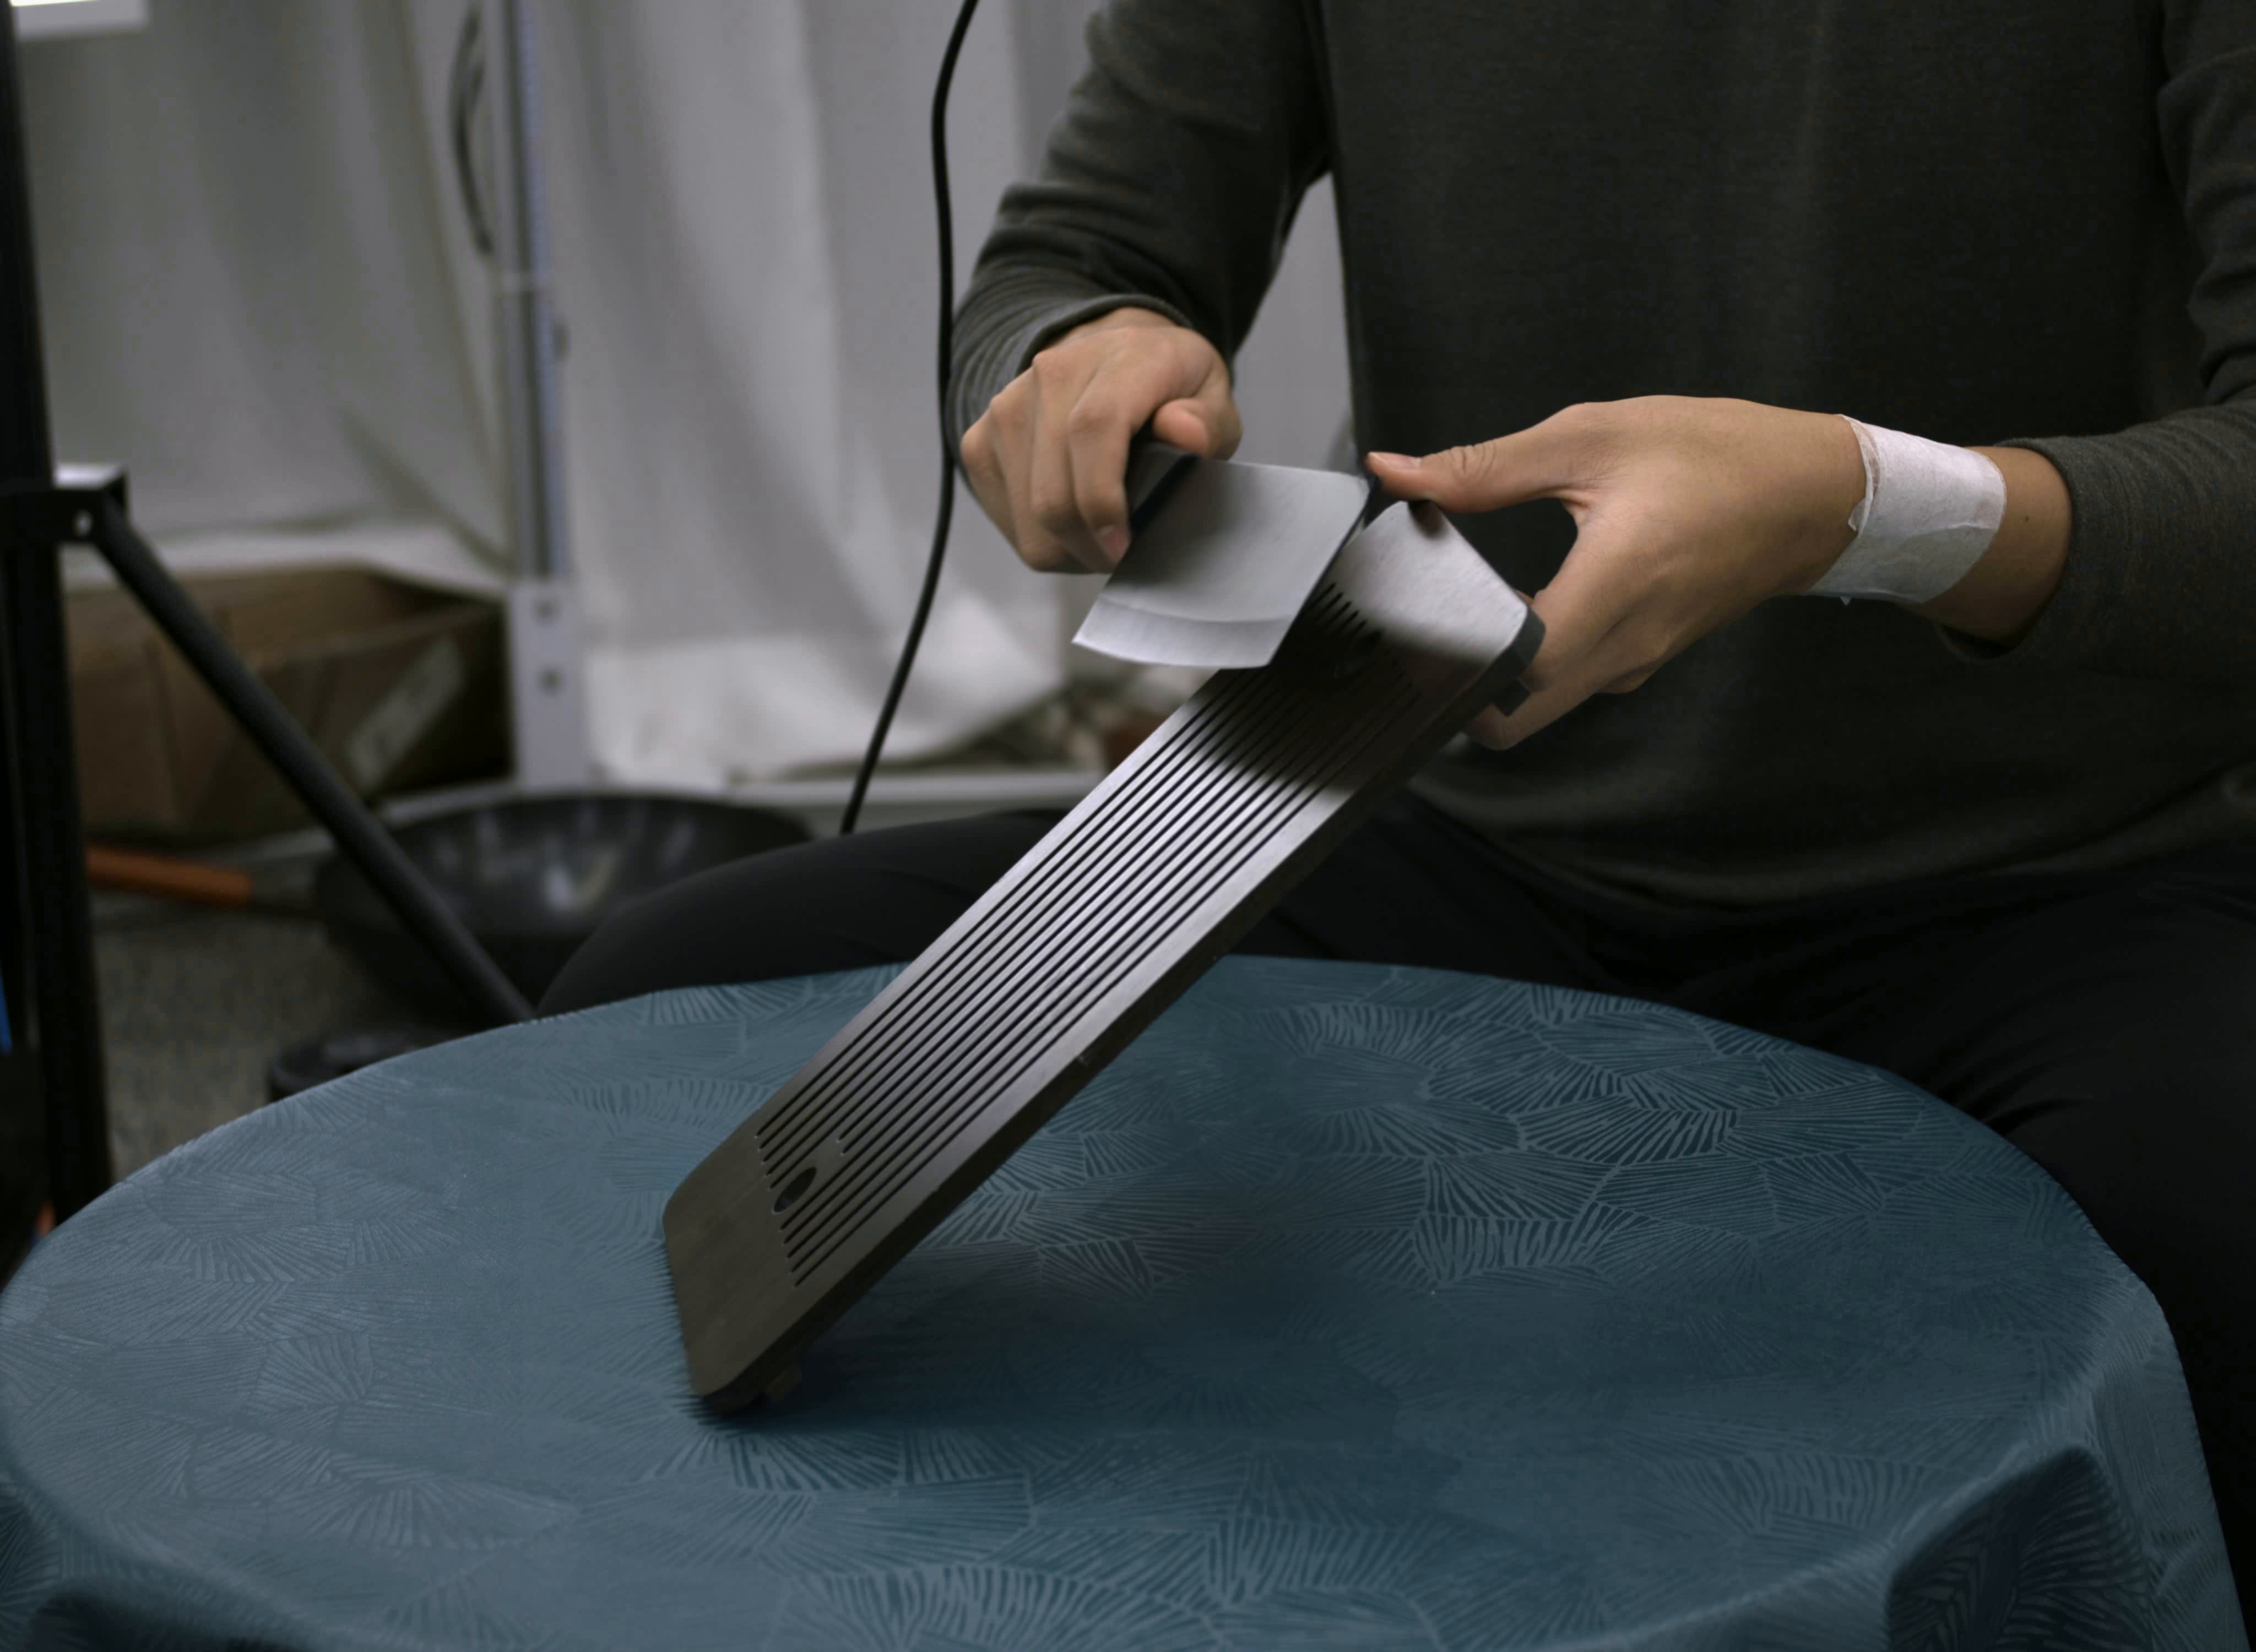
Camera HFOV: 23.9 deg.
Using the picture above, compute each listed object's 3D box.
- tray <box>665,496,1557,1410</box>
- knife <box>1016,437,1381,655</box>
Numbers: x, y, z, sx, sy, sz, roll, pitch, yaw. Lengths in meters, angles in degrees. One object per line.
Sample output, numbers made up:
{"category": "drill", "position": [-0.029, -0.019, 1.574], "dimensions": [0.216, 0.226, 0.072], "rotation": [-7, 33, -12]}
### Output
{"category": "tray", "position": [-0.009, 0.033, 1.458], "dimensions": [0.306, 0.018, 0.171], "rotation": [-43, 16, 5]}
{"category": "knife", "position": [0.011, -0.083, 1.556], "dimensions": [0.020, 0.081, 0.306], "rotation": [35, -1, -16]}
